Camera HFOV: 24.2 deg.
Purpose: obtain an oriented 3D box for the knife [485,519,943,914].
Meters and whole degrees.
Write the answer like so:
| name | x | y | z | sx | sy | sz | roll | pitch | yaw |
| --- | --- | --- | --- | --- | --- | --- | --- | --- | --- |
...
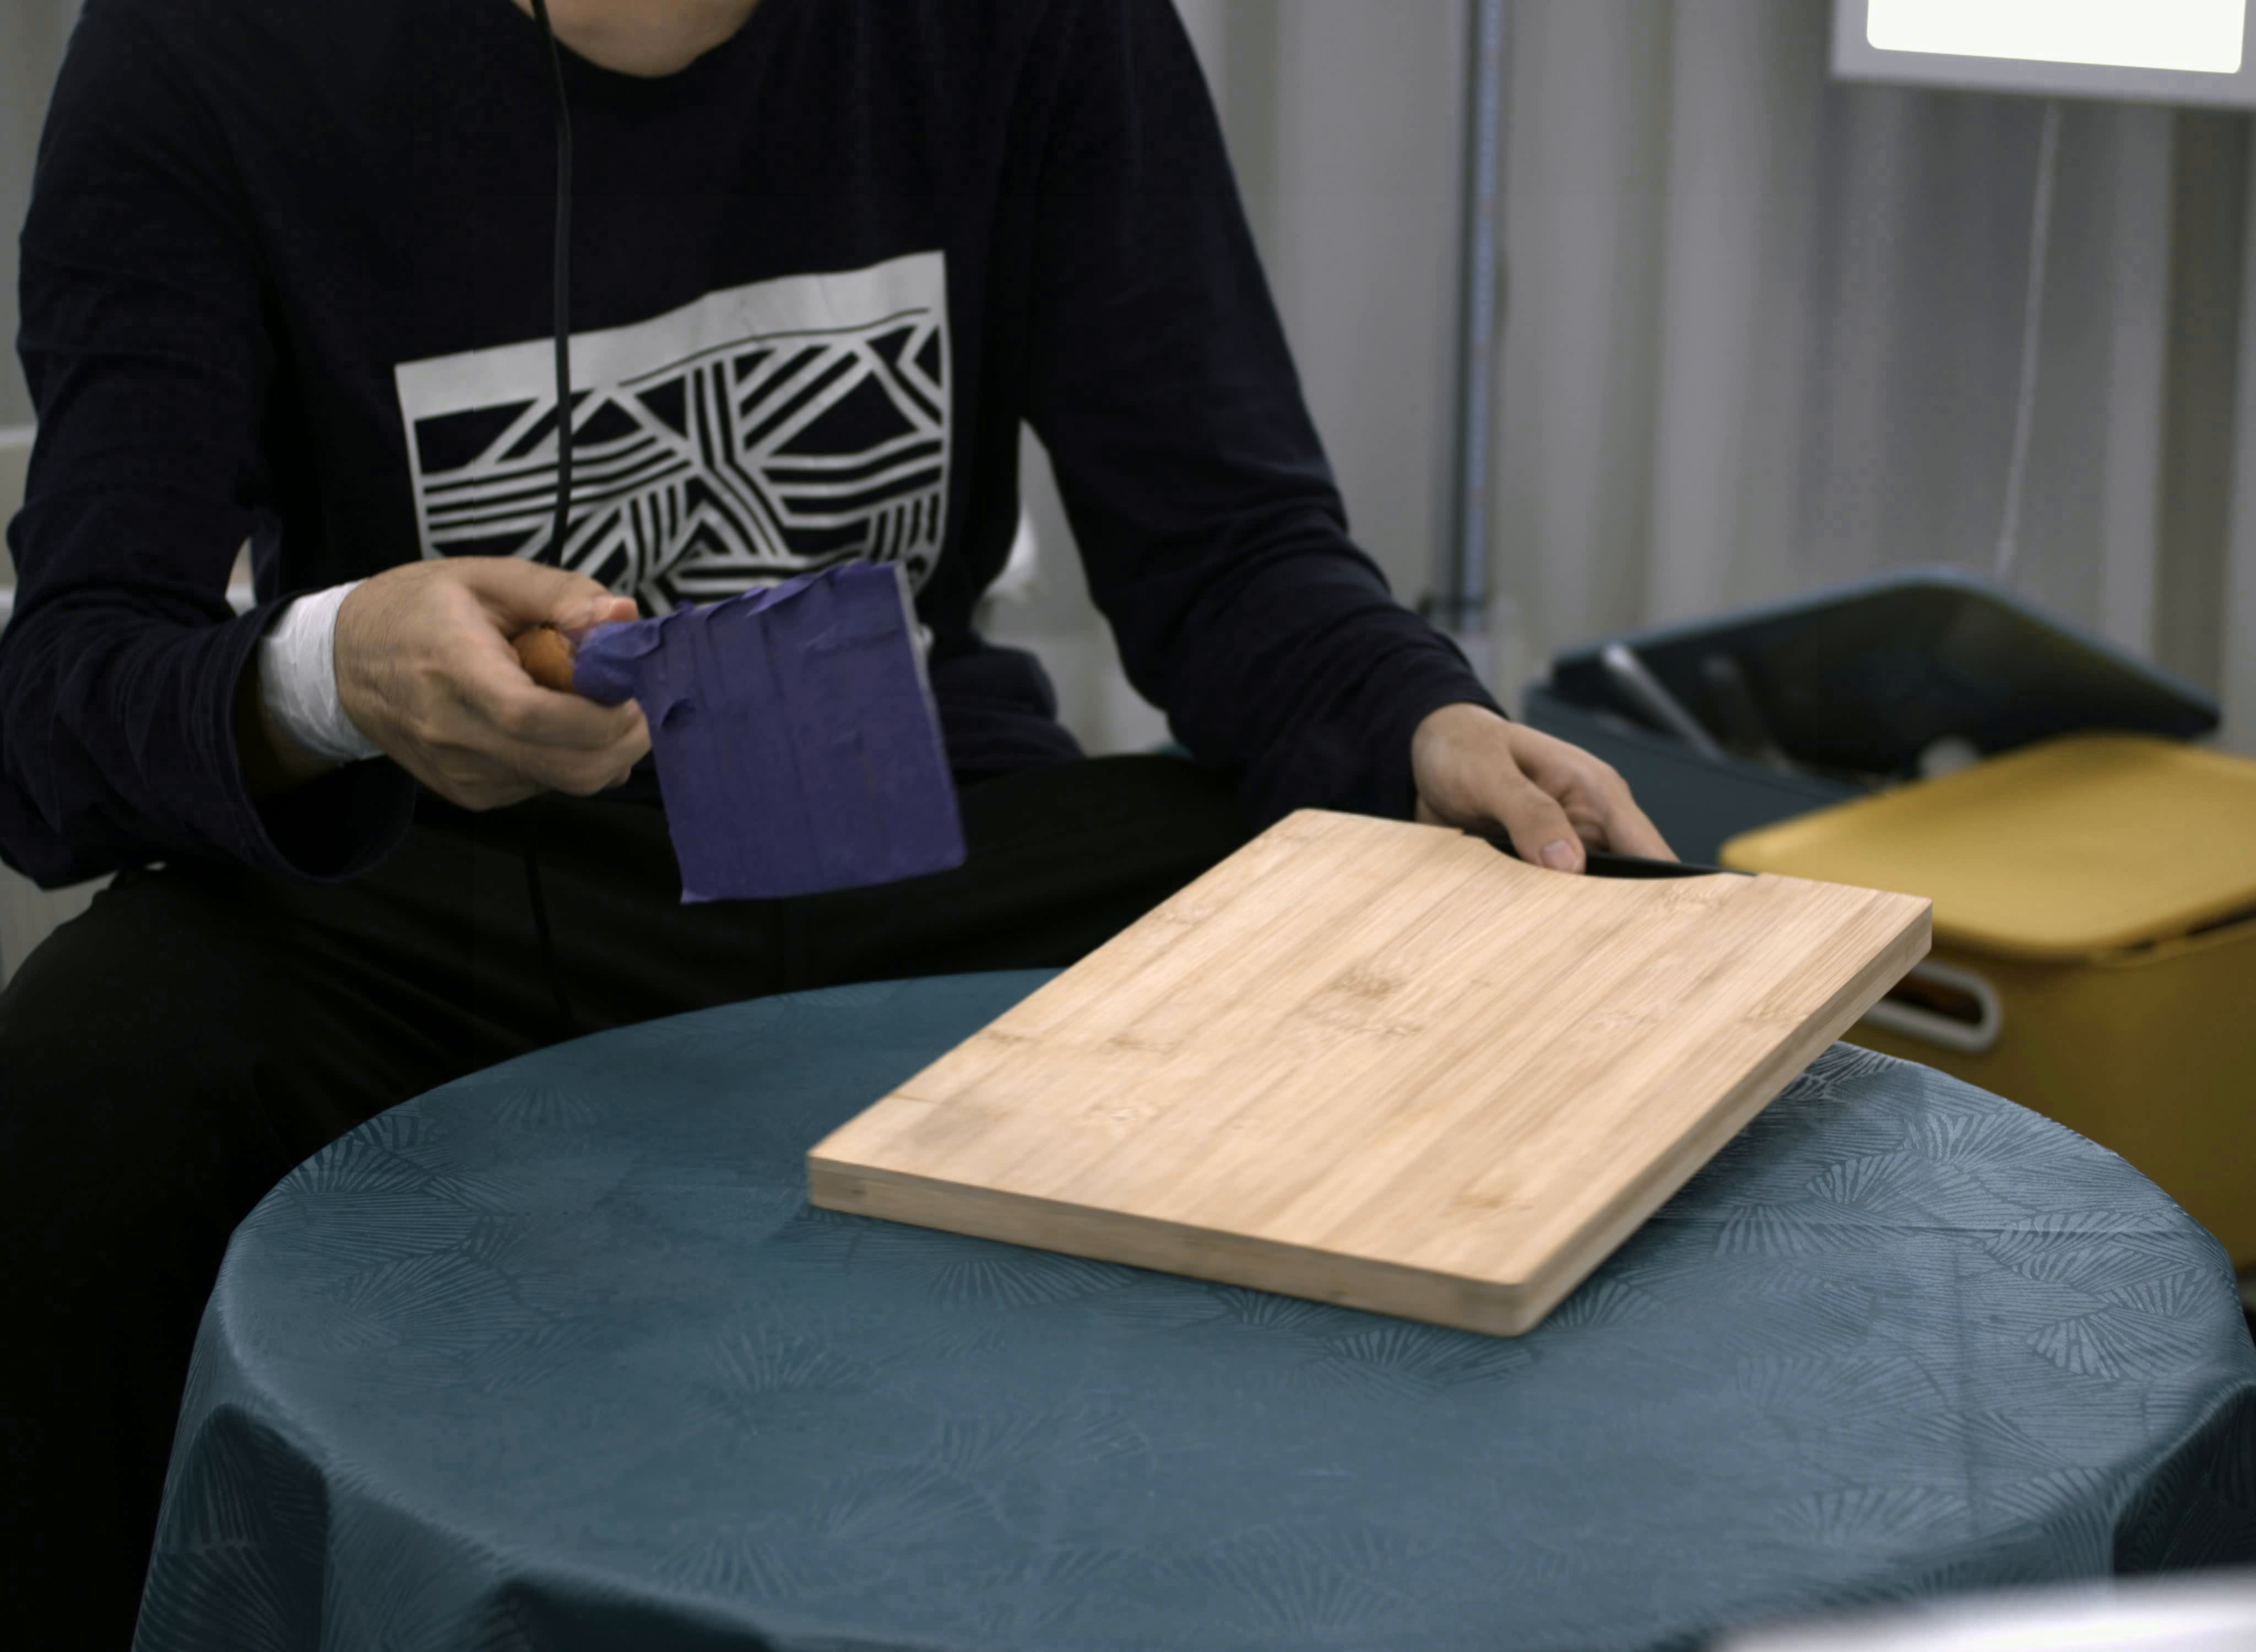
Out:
| name | x | y | z | sx | sy | sz | roll | pitch | yaw |
| --- | --- | --- | --- | --- | --- | --- | --- | --- | --- |
| knife | -0.129 | -0.022 | 1.588 | 0.032 | 0.104 | 0.313 | -13 | 1 | -24 |

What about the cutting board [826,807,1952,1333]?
| name | x | y | z | sx | sy | sz | roll | pitch | yaw |
| --- | --- | --- | --- | --- | --- | --- | --- | --- | --- |
| cutting board | 0.092 | 0.069 | 1.700 | 0.248 | 0.024 | 0.349 | 8 | 22 | 25 |
